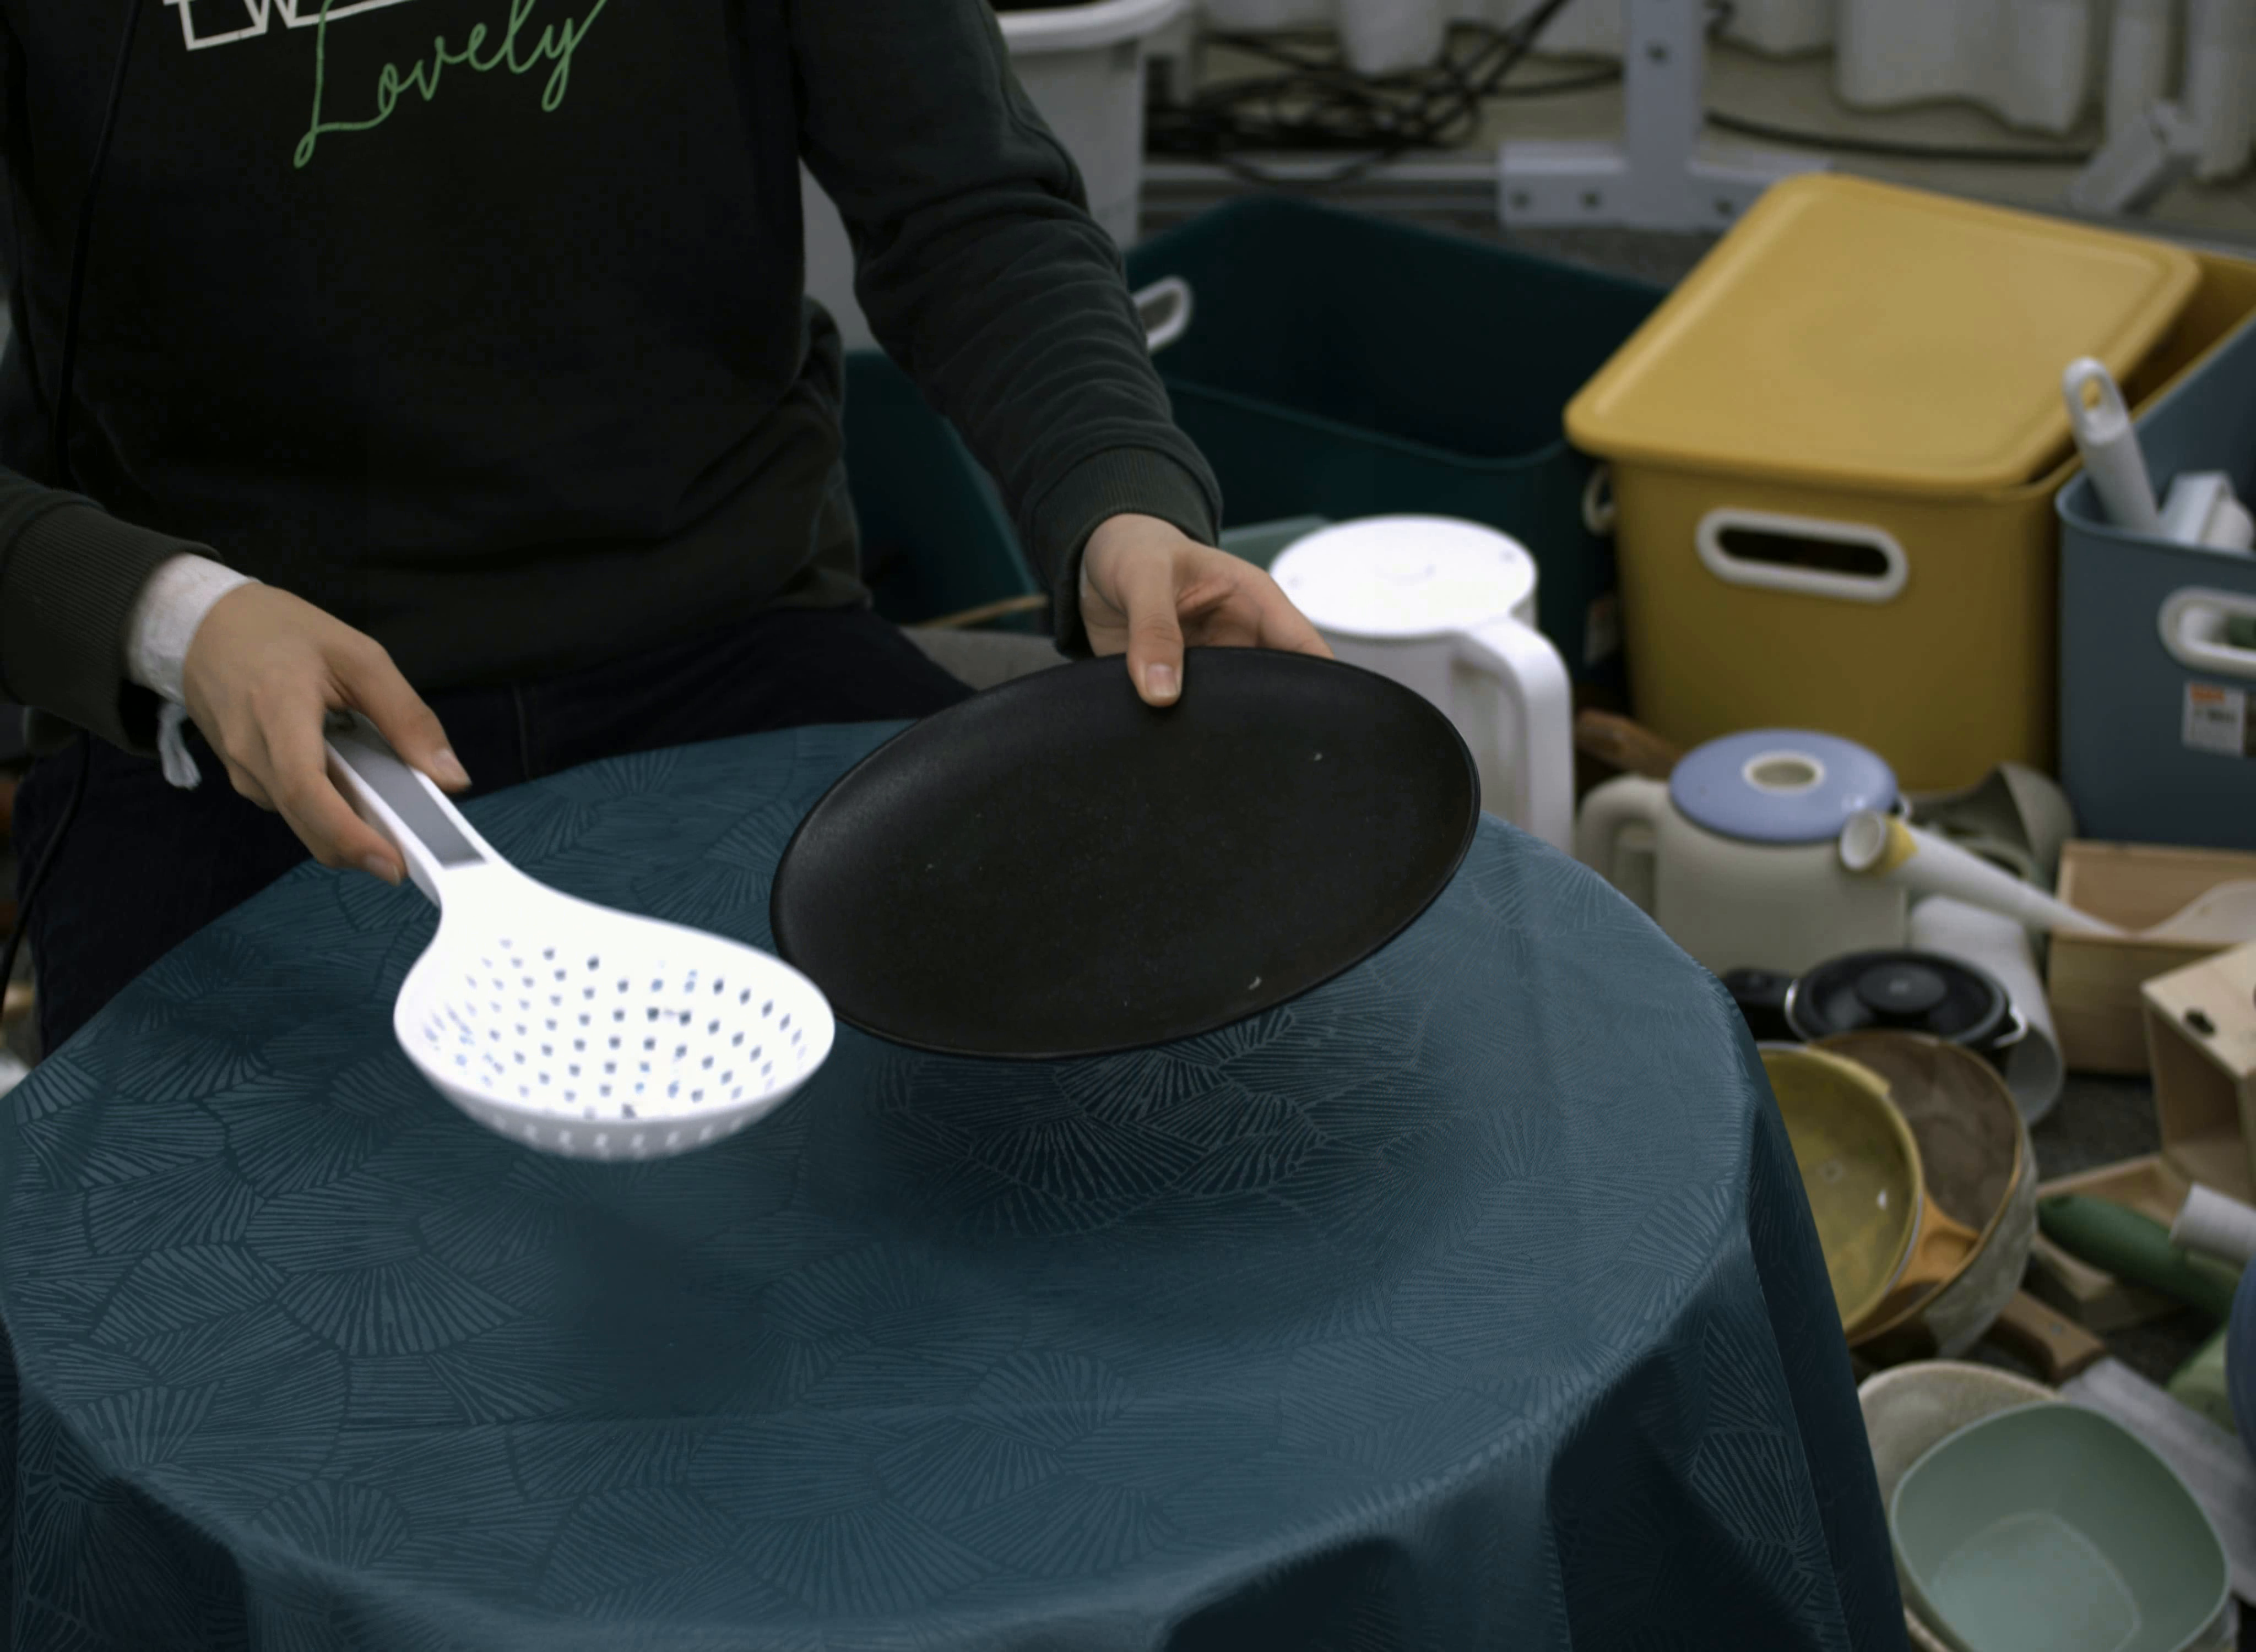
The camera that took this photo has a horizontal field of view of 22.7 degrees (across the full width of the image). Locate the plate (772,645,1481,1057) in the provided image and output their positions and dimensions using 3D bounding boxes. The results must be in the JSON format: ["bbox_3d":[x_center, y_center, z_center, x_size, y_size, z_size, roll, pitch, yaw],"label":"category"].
[{"bbox_3d":[0.001,0.011,1.891,0.243,0.023,0.248,-9,31,6],"label":"plate"}]

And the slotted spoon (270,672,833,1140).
[{"bbox_3d":[-0.210,0.020,1.835,0.136,0.045,0.352,-7,30,-27],"label":"slotted spoon"}]
